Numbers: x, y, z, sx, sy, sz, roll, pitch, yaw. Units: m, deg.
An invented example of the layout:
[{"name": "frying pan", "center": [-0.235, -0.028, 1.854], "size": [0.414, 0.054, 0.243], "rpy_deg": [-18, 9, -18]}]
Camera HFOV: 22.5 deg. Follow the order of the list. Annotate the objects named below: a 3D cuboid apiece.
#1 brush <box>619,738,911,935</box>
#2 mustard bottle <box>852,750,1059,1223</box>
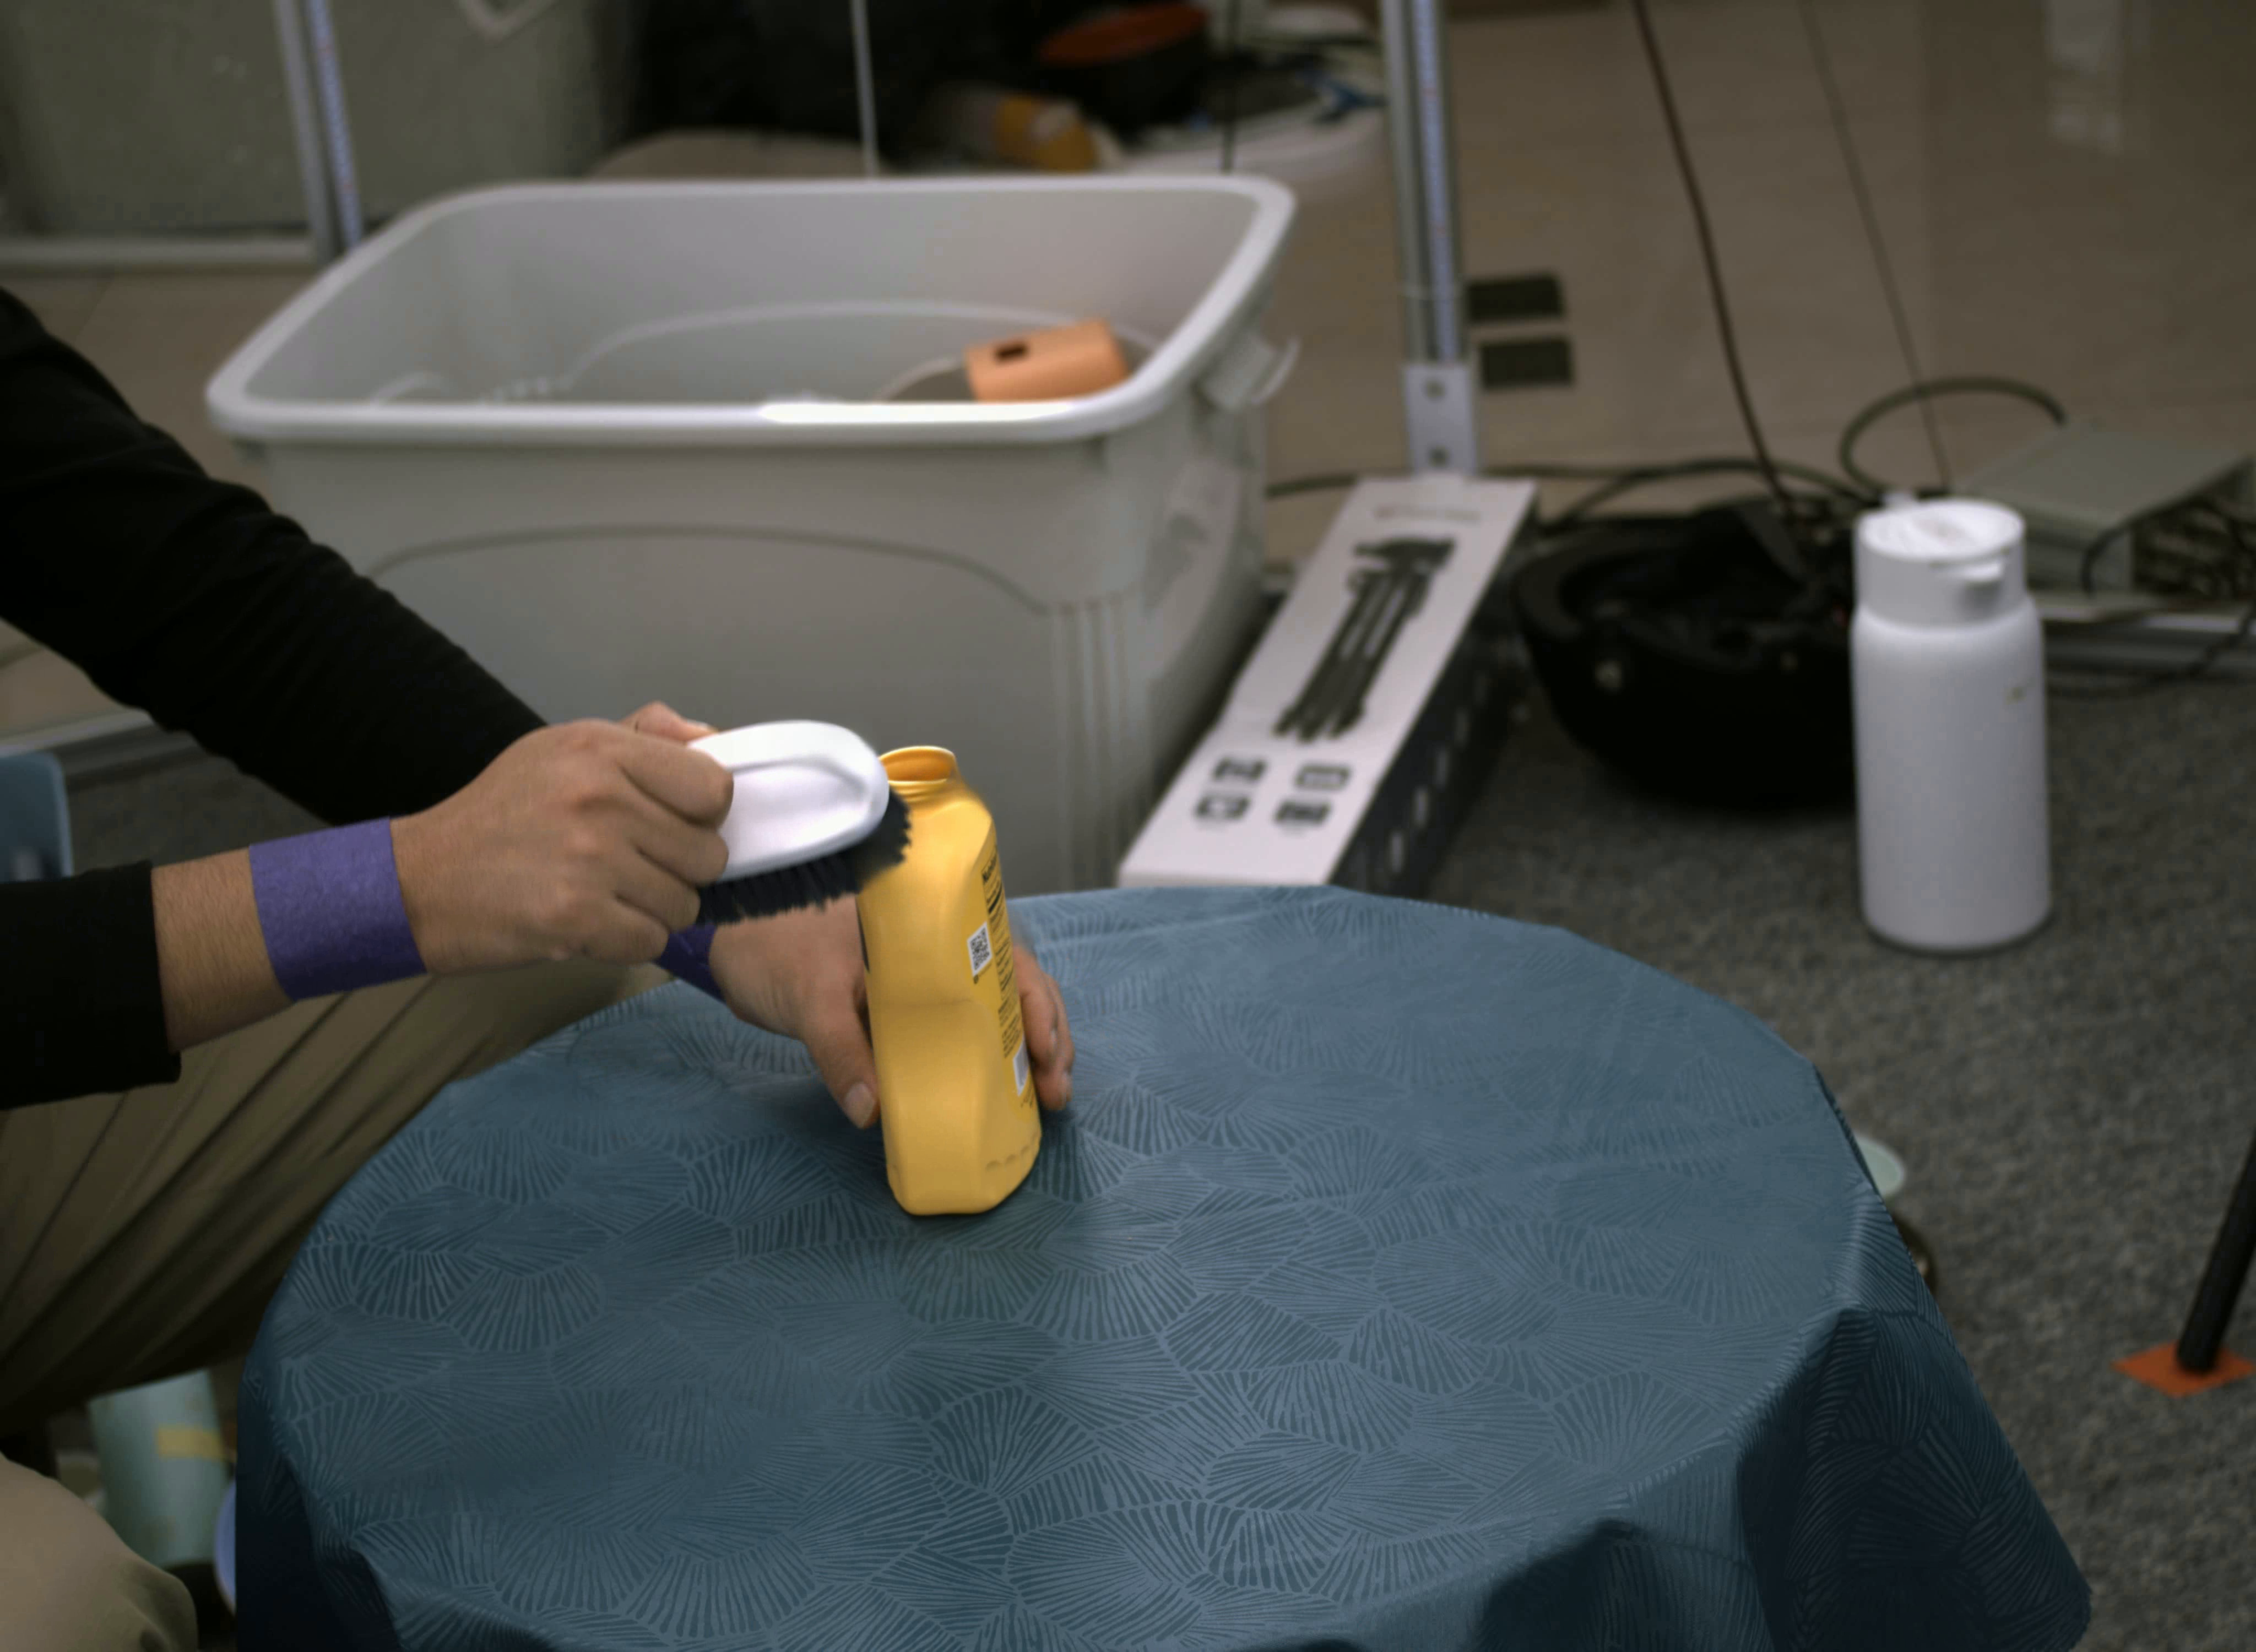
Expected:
[{"name": "brush", "center": [-0.135, -0.004, 2.020], "size": [0.099, 0.074, 0.049], "rpy_deg": [-10, 56, 12]}, {"name": "mustard bottle", "center": [-0.069, 0.056, 2.140], "size": [0.059, 0.175, 0.097], "rpy_deg": [-8, 26, 7]}]
